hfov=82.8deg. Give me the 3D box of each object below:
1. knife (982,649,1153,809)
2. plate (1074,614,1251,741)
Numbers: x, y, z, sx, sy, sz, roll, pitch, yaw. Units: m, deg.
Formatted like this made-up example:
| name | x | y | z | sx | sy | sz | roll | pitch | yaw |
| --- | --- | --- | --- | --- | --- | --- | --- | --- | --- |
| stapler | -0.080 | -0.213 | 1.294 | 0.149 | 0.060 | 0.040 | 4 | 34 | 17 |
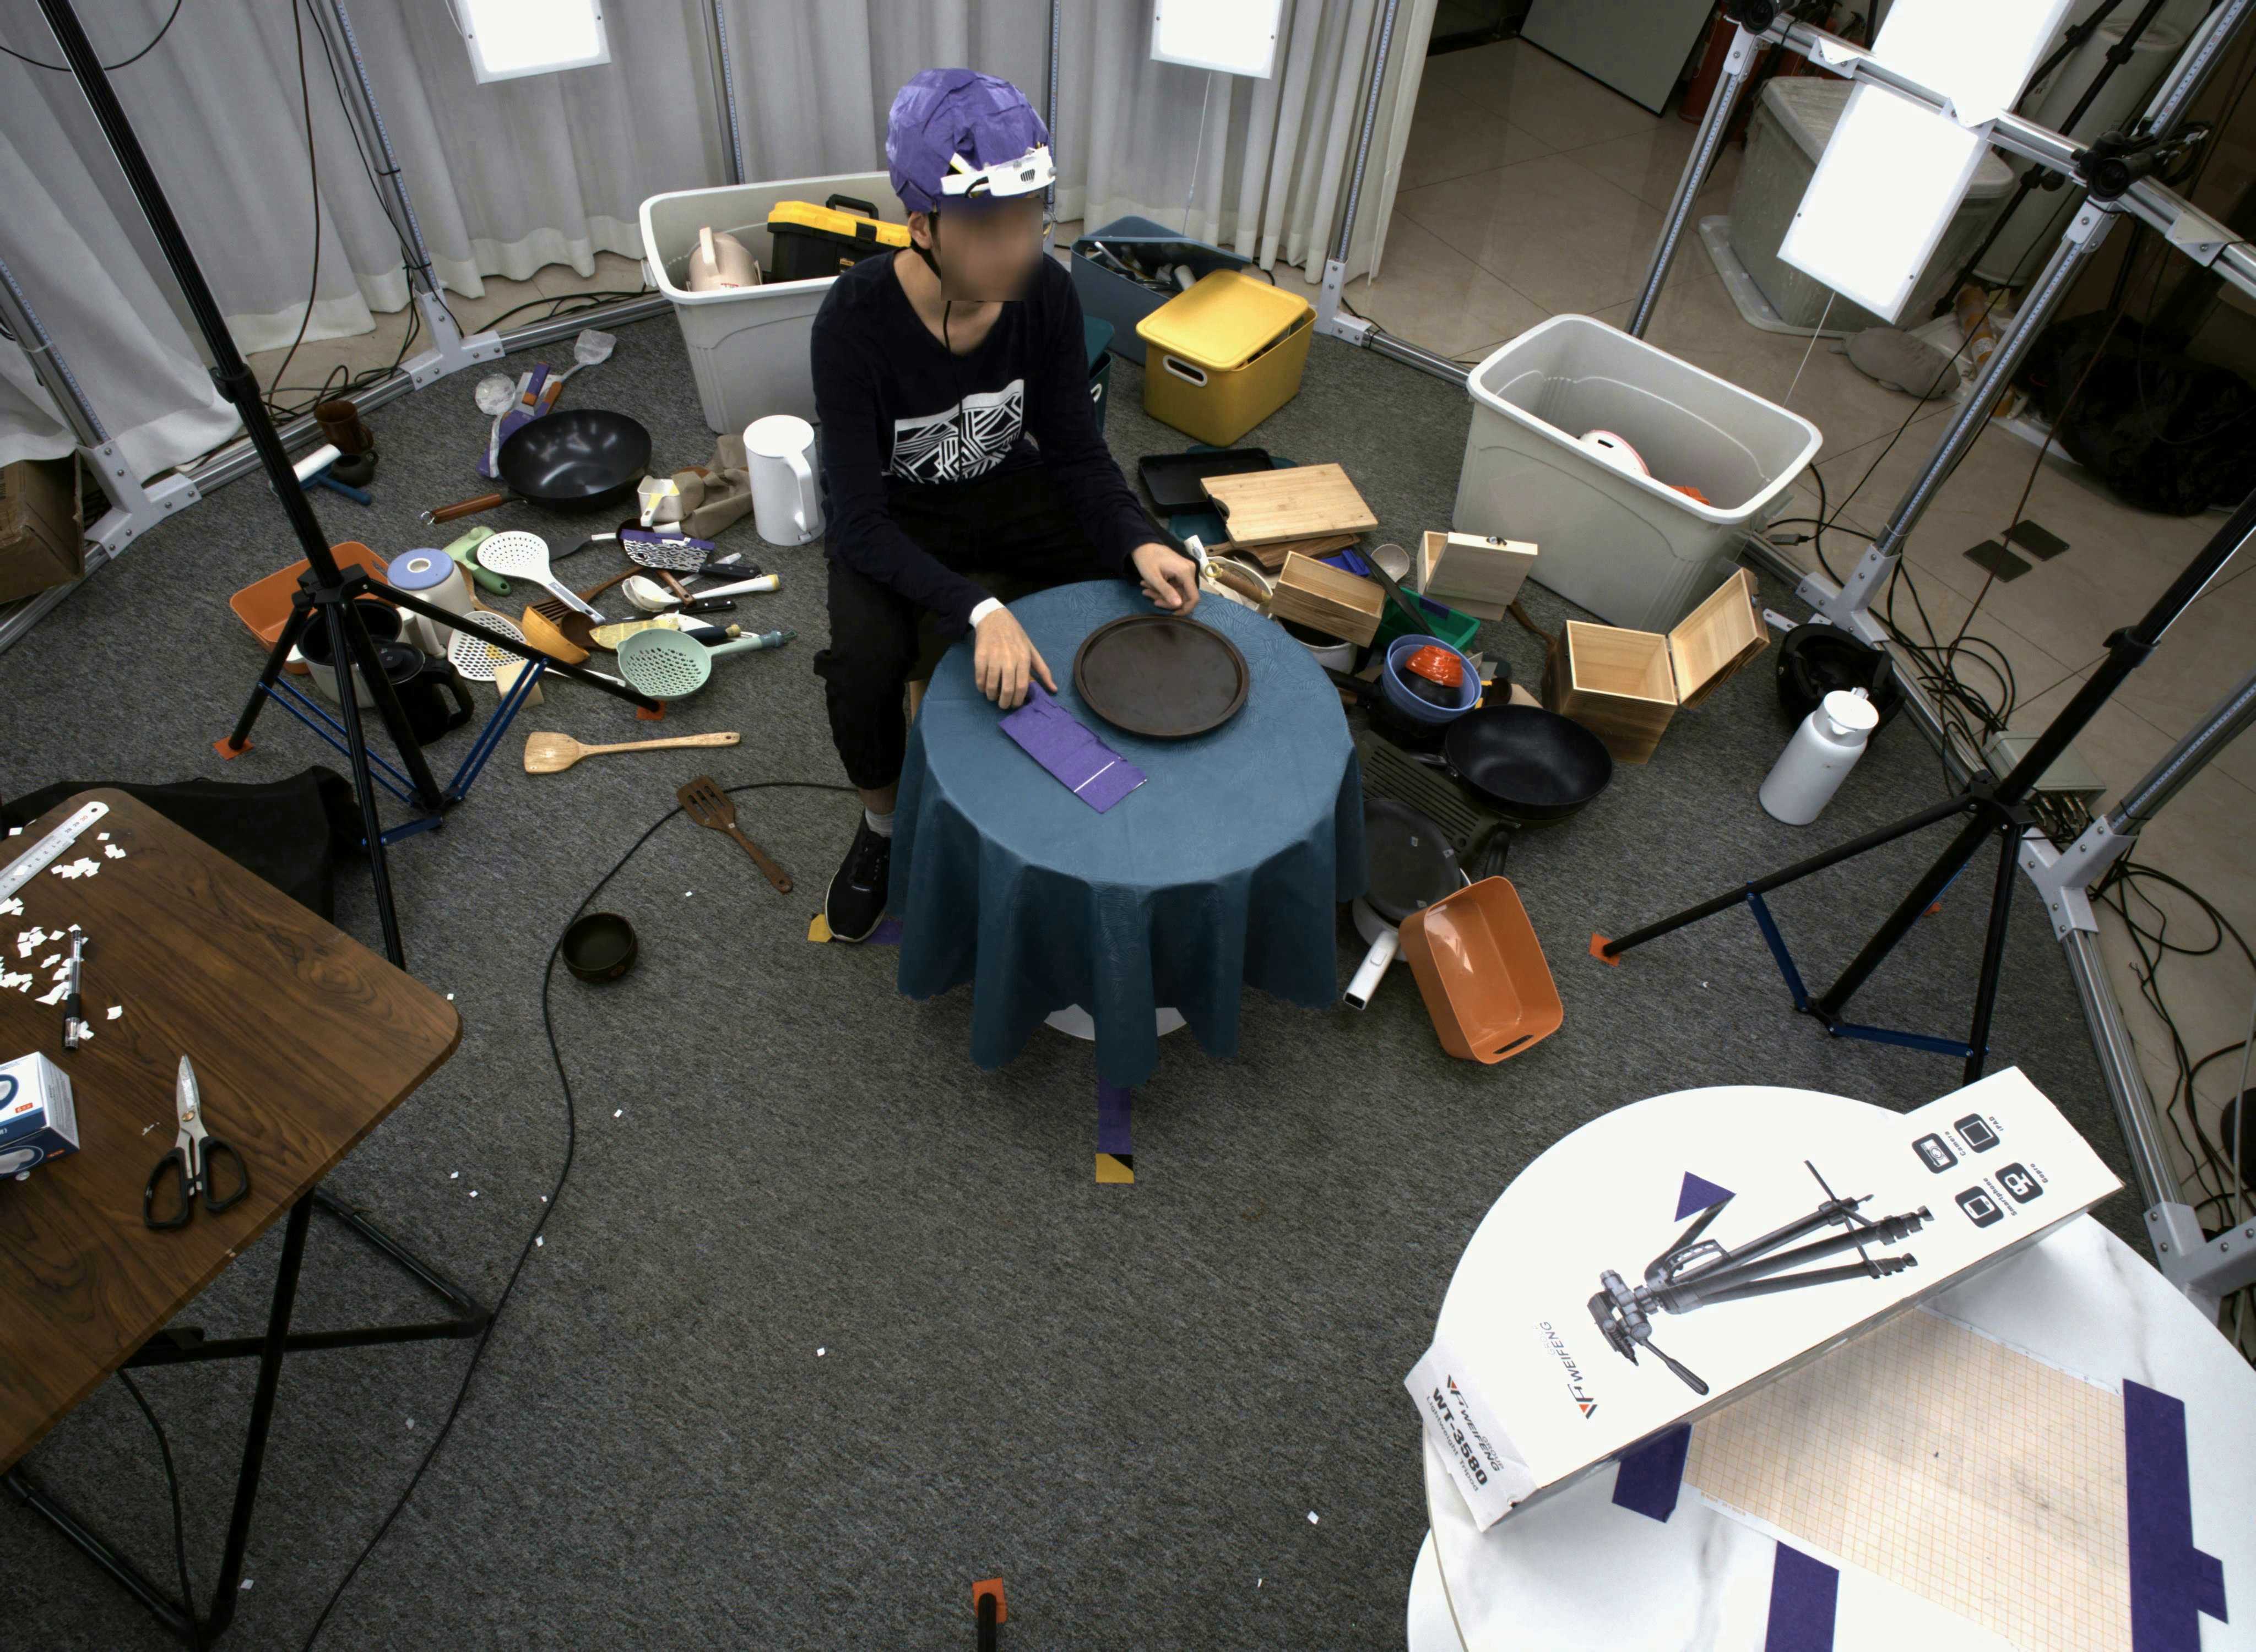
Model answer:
| name | x | y | z | sx | sy | sz | roll | pitch | yaw |
| --- | --- | --- | --- | --- | --- | --- | --- | --- | --- |
| knife | -0.110 | -0.136 | 1.760 | 0.105 | 0.031 | 0.320 | -35 | 60 | -29 |
| plate | 0.049 | -0.215 | 1.841 | 0.254 | 0.028 | 0.261 | 2 | 50 | -3 |
